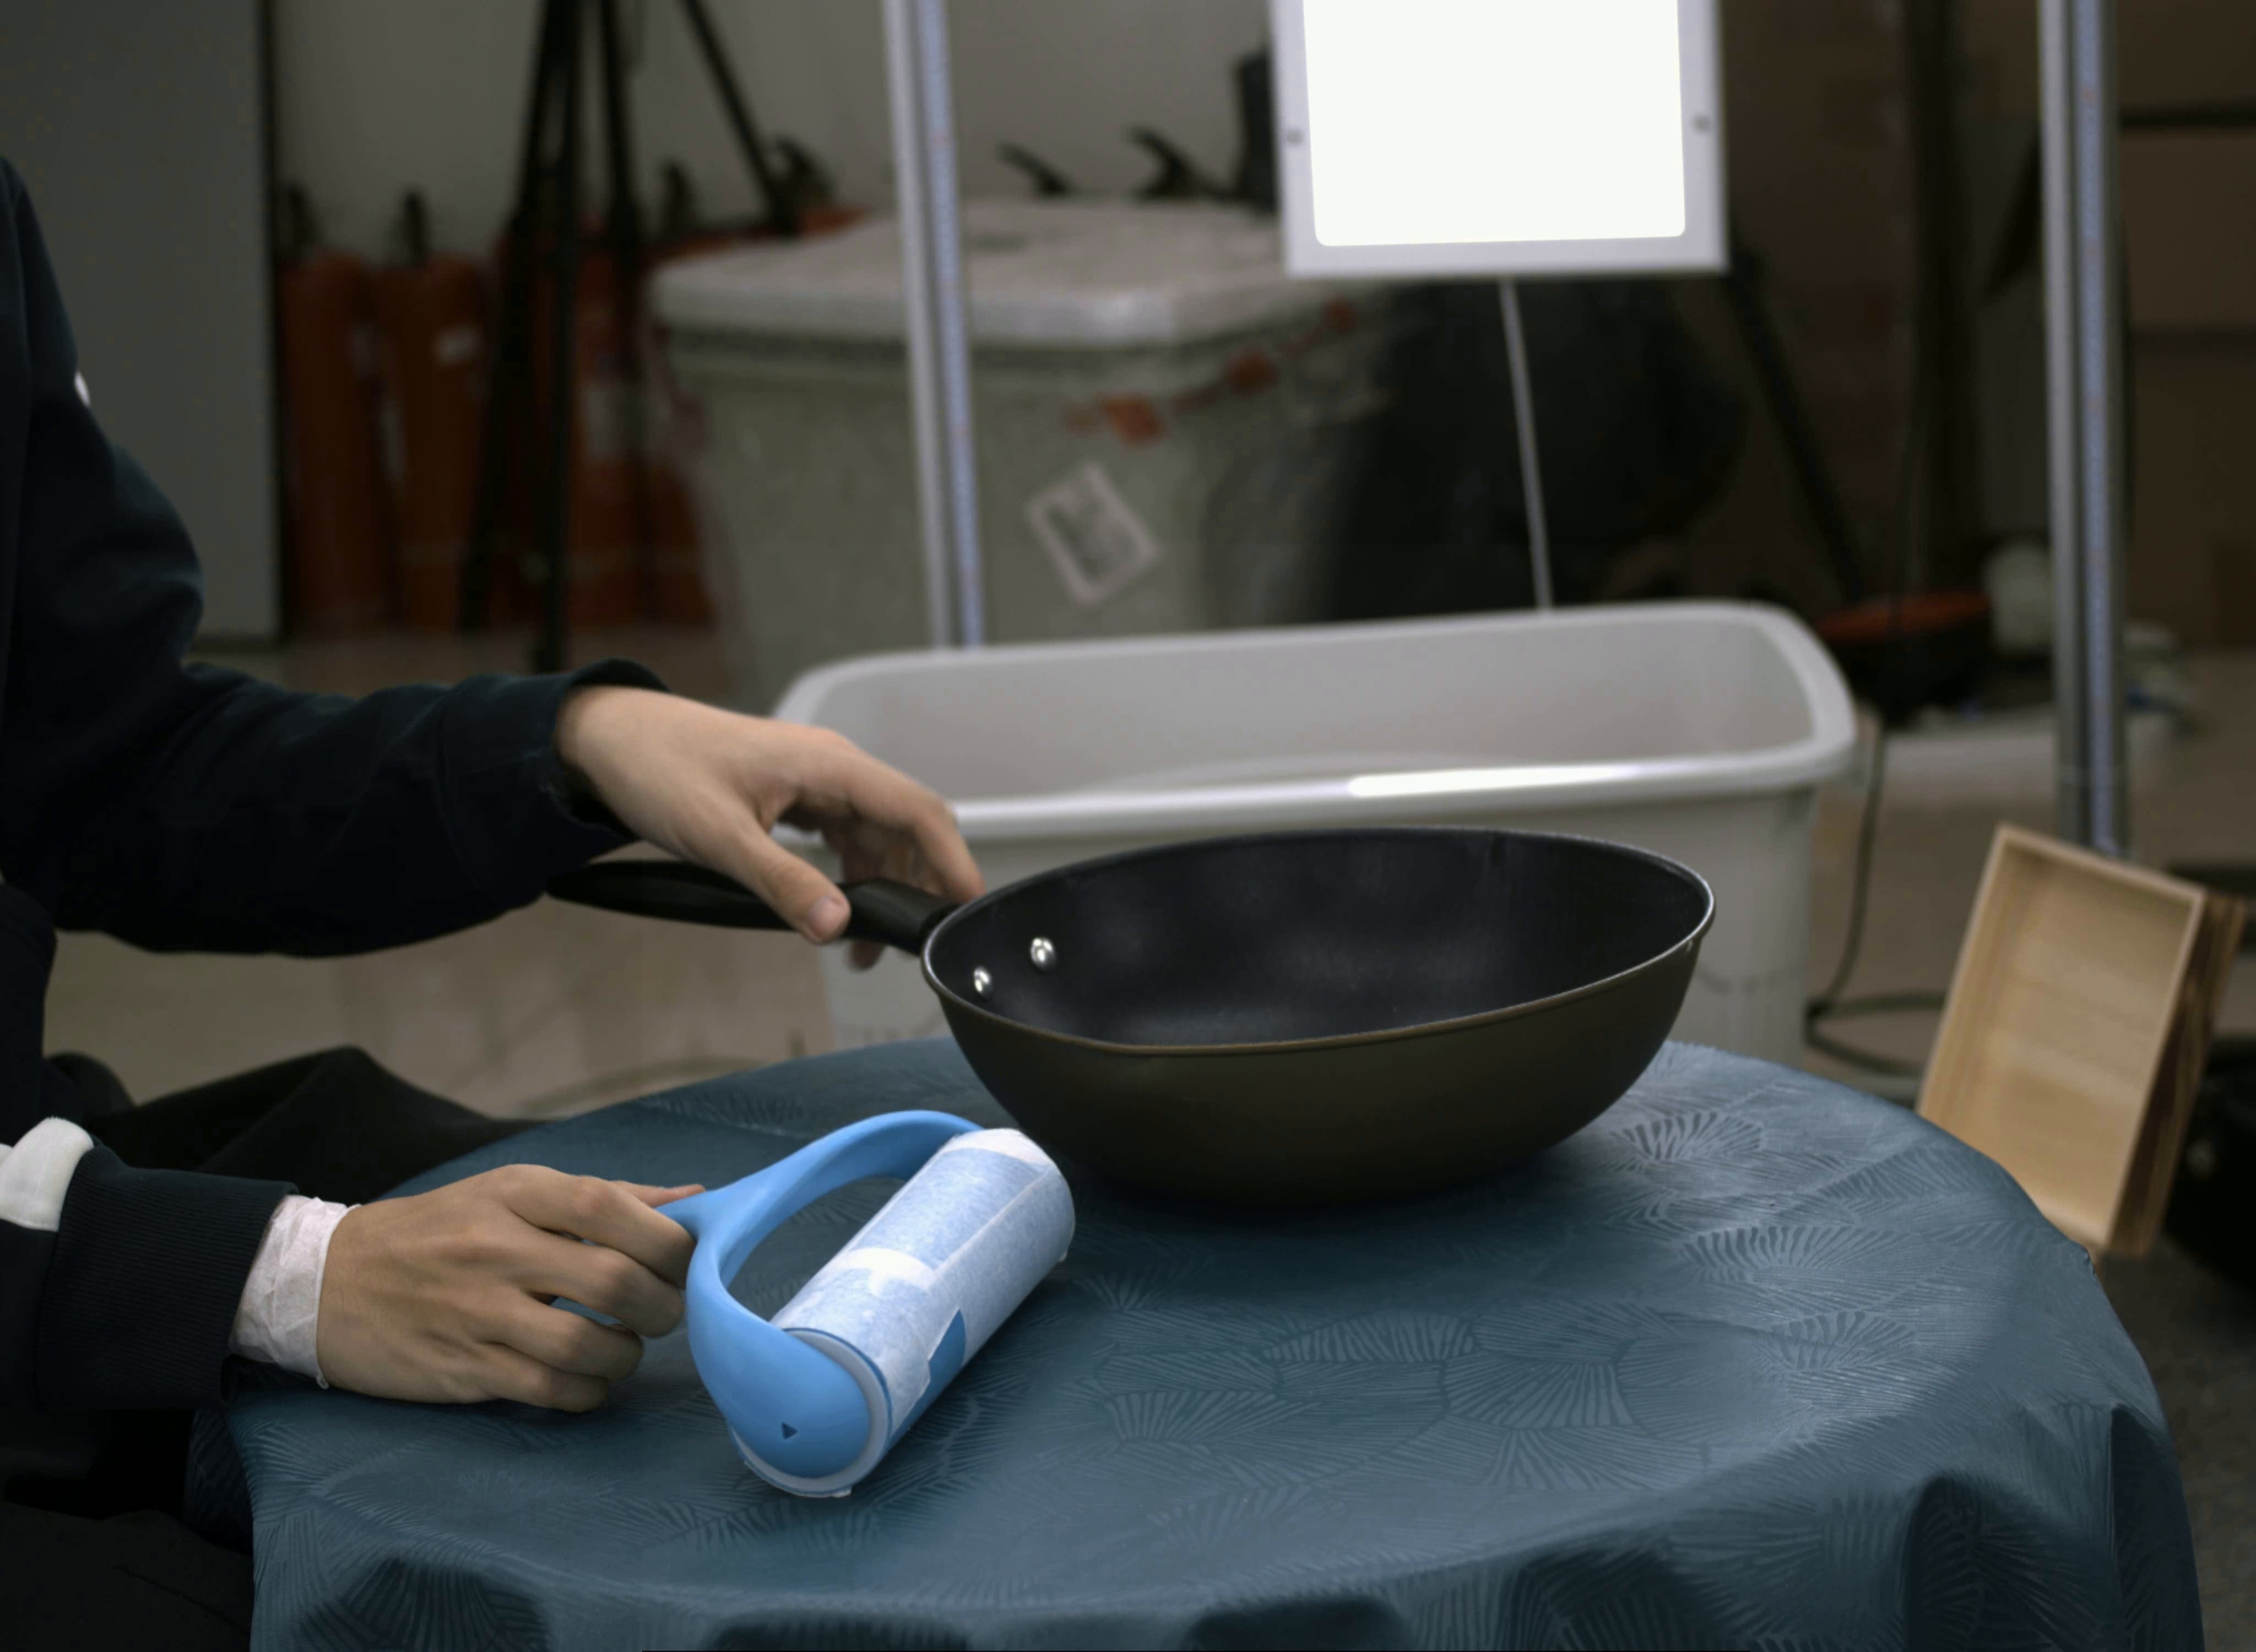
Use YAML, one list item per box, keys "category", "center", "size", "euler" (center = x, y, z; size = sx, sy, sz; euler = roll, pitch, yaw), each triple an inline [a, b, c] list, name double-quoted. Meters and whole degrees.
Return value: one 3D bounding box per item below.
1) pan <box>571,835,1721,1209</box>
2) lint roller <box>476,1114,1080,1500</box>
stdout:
- category: "pan"
  center: [-0.009, 0.068, 1.966]
  size: [0.472, 0.087, 0.281]
  euler: [2, 15, 32]
- category: "lint roller"
  center: [-0.123, 0.149, 1.731]
  size: [0.182, 0.068, 0.226]
  euler: [-1, 16, 14]
